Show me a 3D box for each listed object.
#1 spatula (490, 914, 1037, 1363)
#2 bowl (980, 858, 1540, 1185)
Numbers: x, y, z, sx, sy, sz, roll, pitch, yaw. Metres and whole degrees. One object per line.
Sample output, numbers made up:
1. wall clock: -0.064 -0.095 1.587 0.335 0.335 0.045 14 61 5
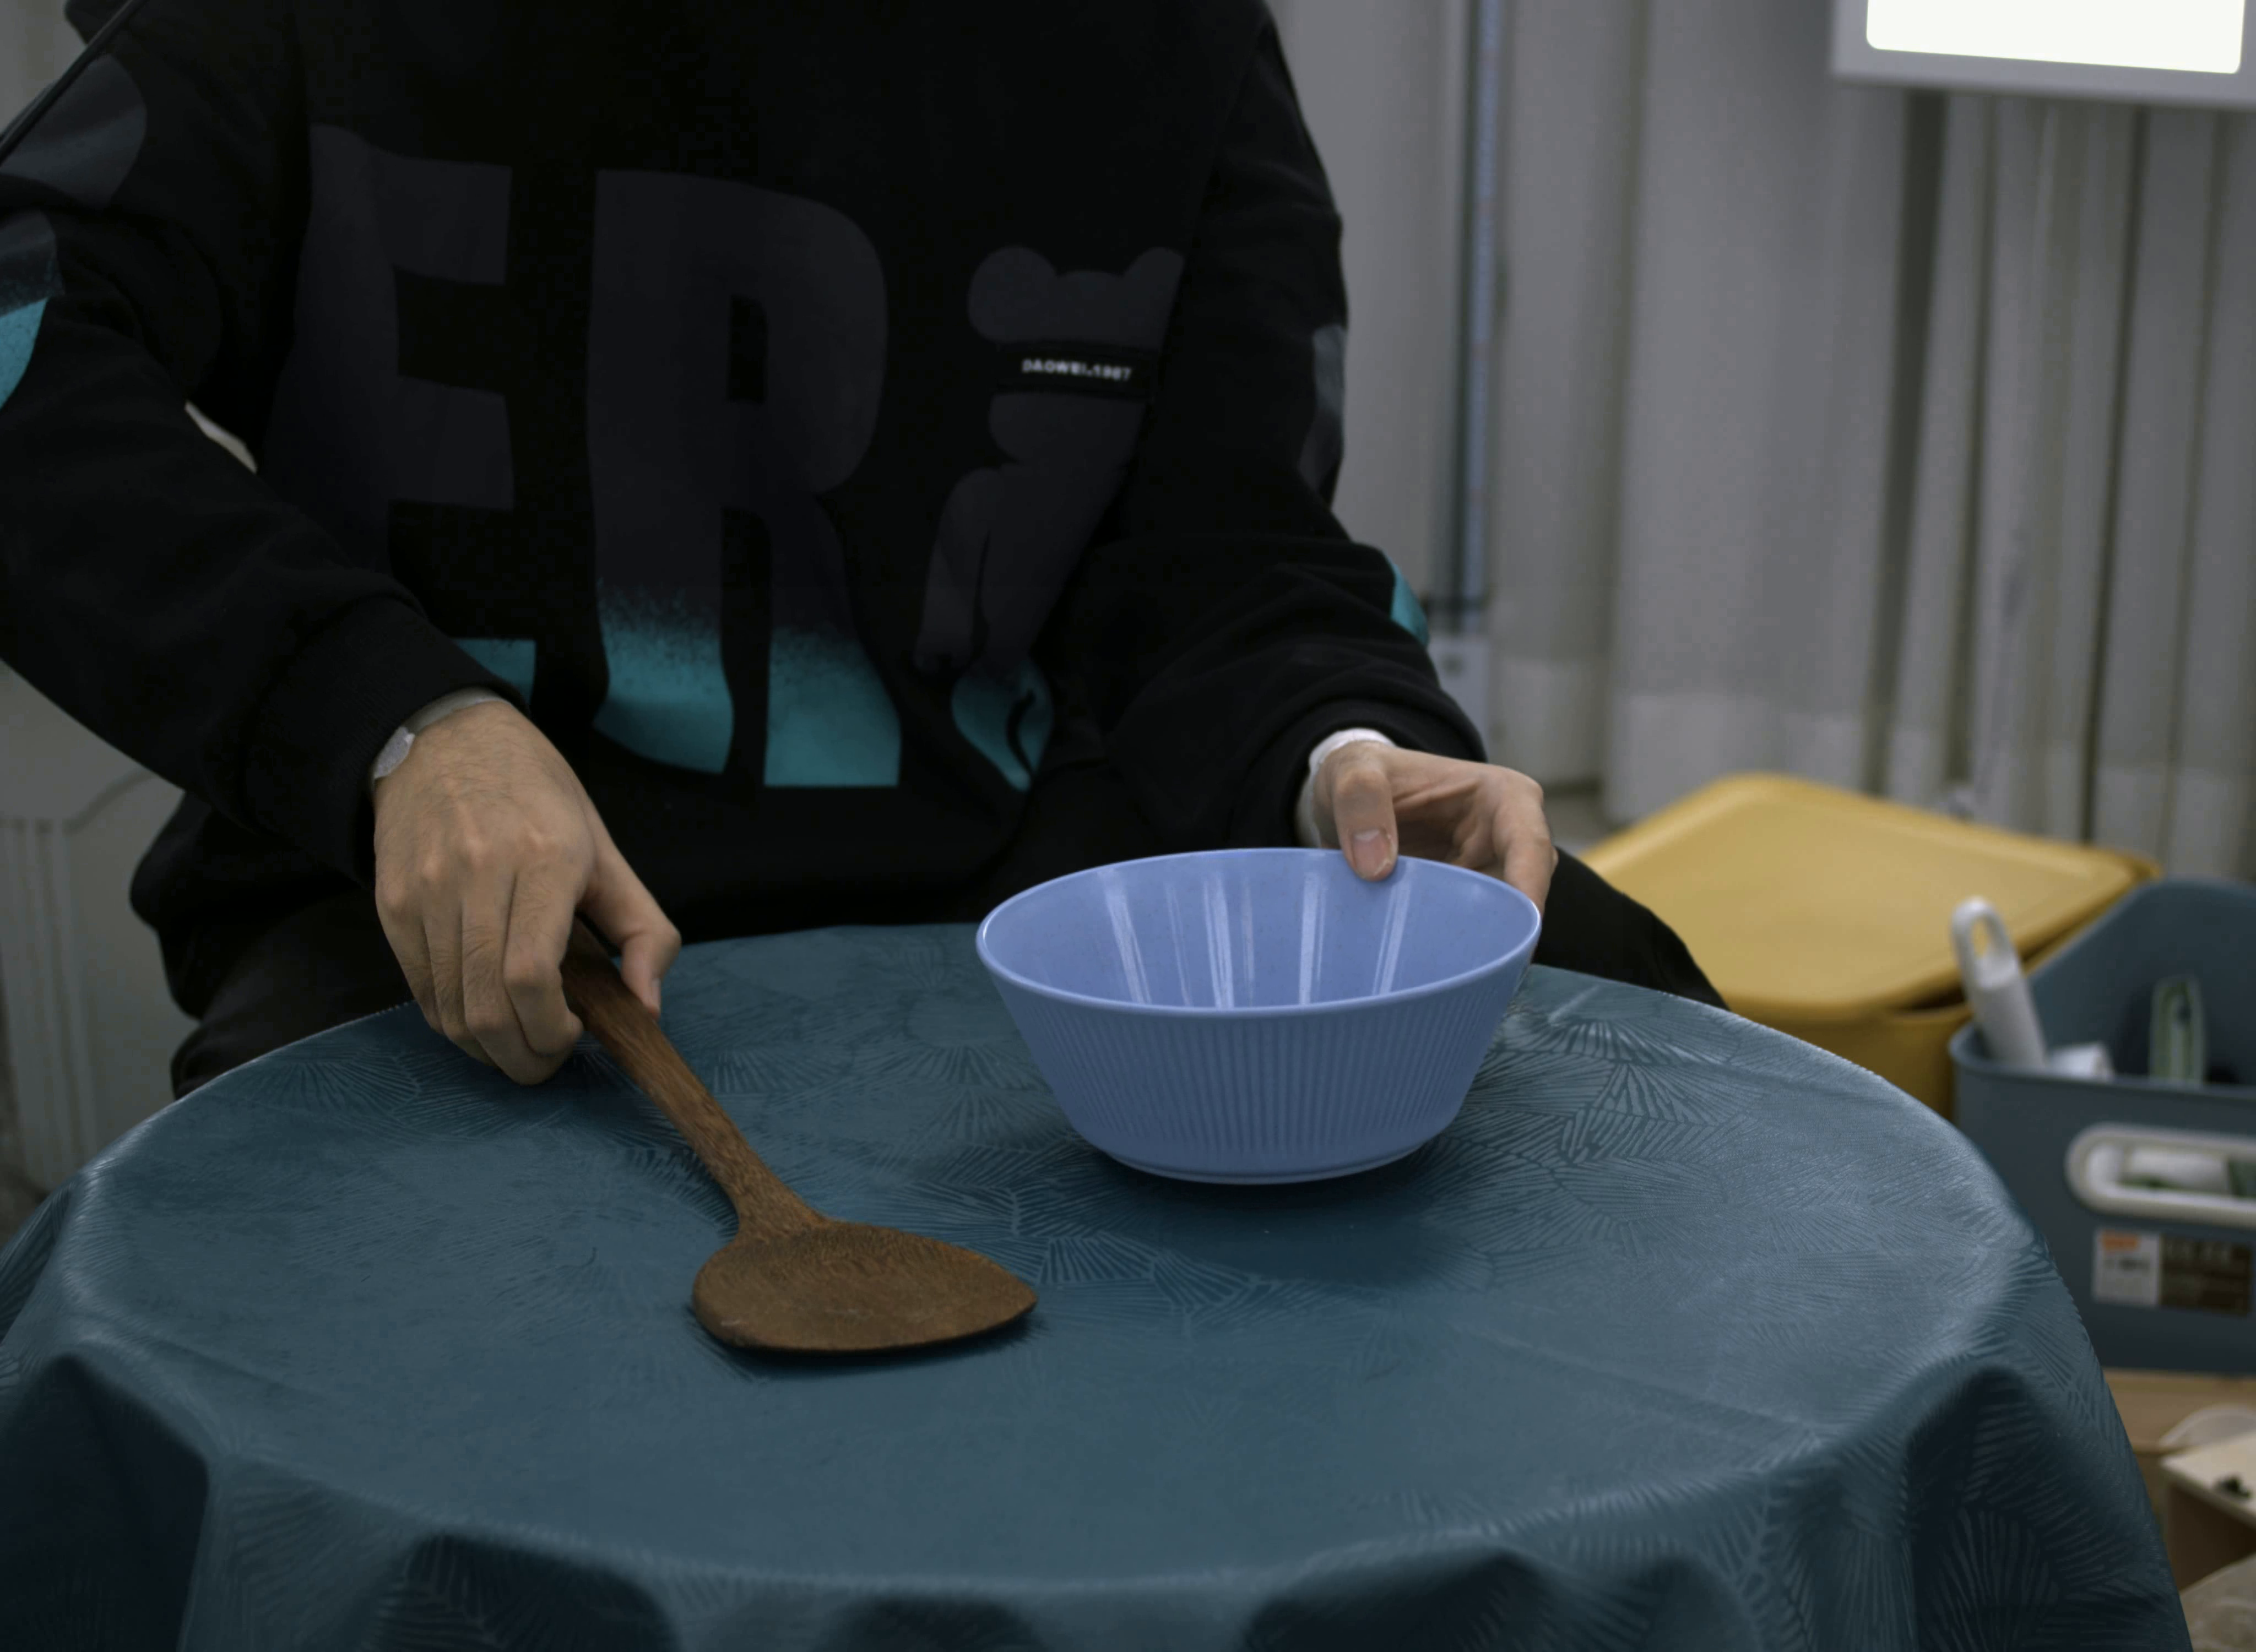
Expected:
1. spatula: -0.136 0.090 1.647 0.096 0.016 0.381 -5 21 -23
2. bowl: 0.042 0.063 1.646 0.175 0.071 0.175 -2 15 1
